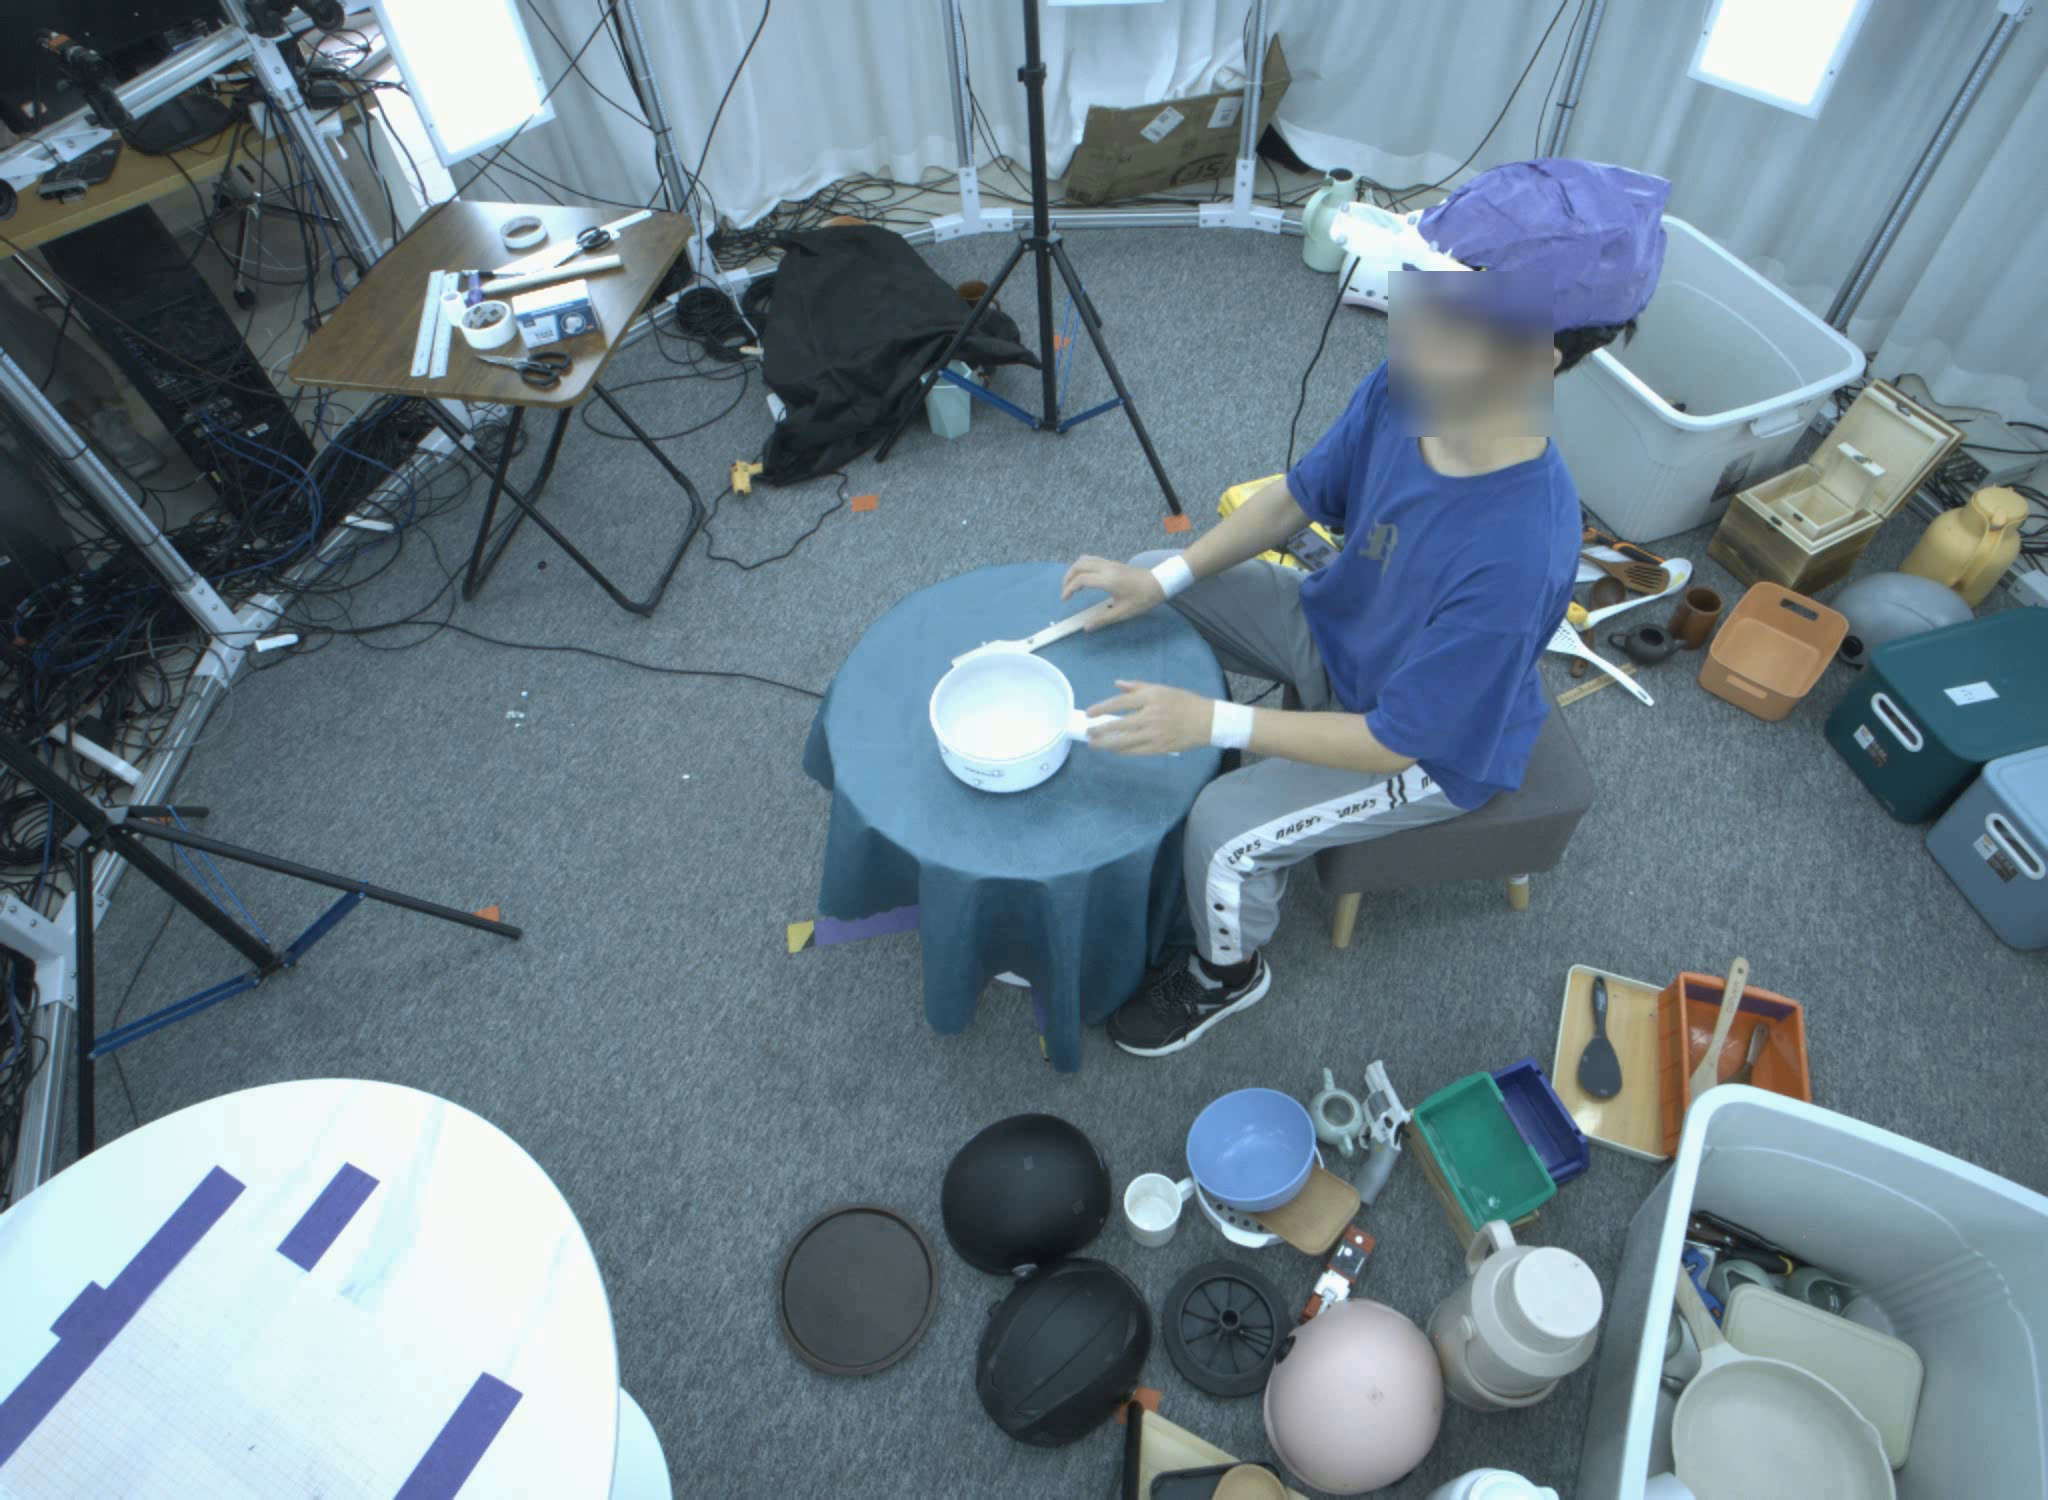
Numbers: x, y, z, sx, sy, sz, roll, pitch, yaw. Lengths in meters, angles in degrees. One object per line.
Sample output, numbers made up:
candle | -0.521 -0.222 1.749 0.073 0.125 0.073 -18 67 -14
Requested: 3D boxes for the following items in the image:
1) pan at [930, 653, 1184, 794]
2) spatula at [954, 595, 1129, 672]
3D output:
pan | 0.046 -0.021 1.731 0.352 0.103 0.200 9 53 9
spatula | 0.033 -0.175 1.896 0.295 0.011 0.071 -27 56 -16
